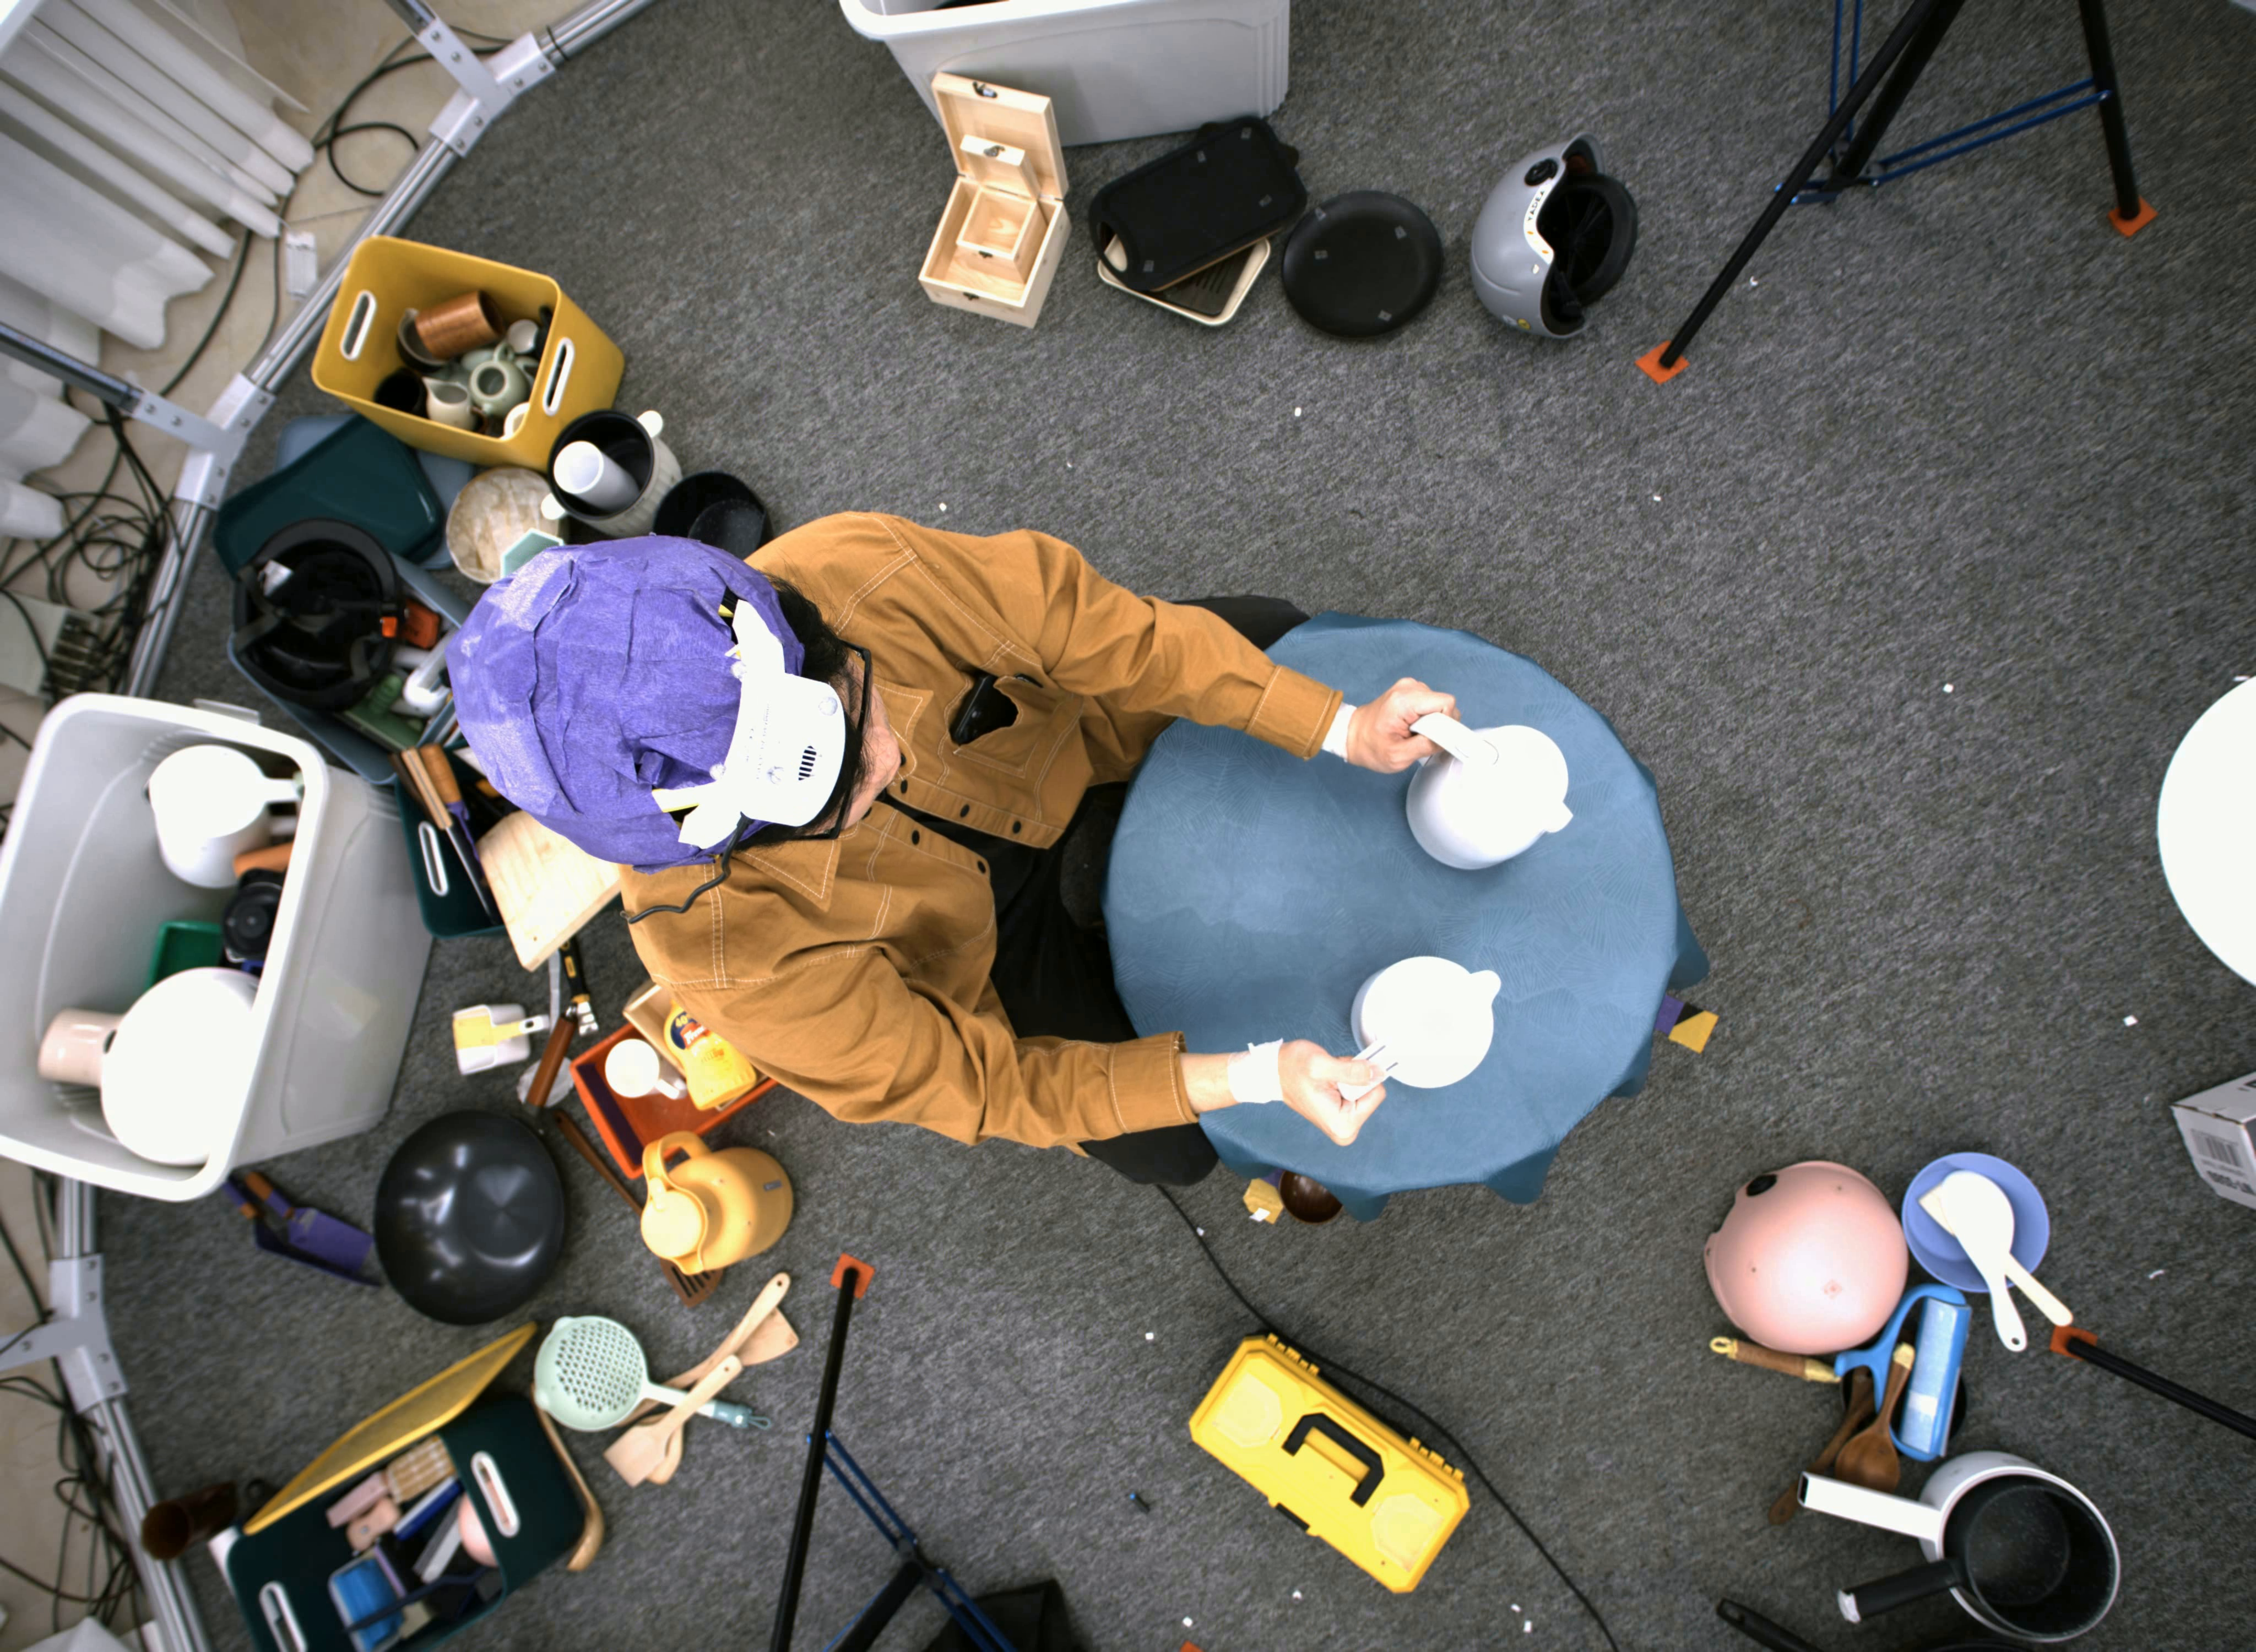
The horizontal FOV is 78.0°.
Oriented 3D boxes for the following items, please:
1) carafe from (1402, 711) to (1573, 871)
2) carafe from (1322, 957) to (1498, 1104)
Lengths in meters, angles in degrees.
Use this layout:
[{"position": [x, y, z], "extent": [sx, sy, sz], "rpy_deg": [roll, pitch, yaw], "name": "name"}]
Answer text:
[{"position": [0.330, -0.044, 1.310], "extent": [0.167, 0.249, 0.132], "rpy_deg": [39, 89, 7], "name": "carafe"}, {"position": [0.261, 0.195, 1.305], "extent": [0.173, 0.269, 0.123], "rpy_deg": [-37, 83, 2], "name": "carafe"}]
